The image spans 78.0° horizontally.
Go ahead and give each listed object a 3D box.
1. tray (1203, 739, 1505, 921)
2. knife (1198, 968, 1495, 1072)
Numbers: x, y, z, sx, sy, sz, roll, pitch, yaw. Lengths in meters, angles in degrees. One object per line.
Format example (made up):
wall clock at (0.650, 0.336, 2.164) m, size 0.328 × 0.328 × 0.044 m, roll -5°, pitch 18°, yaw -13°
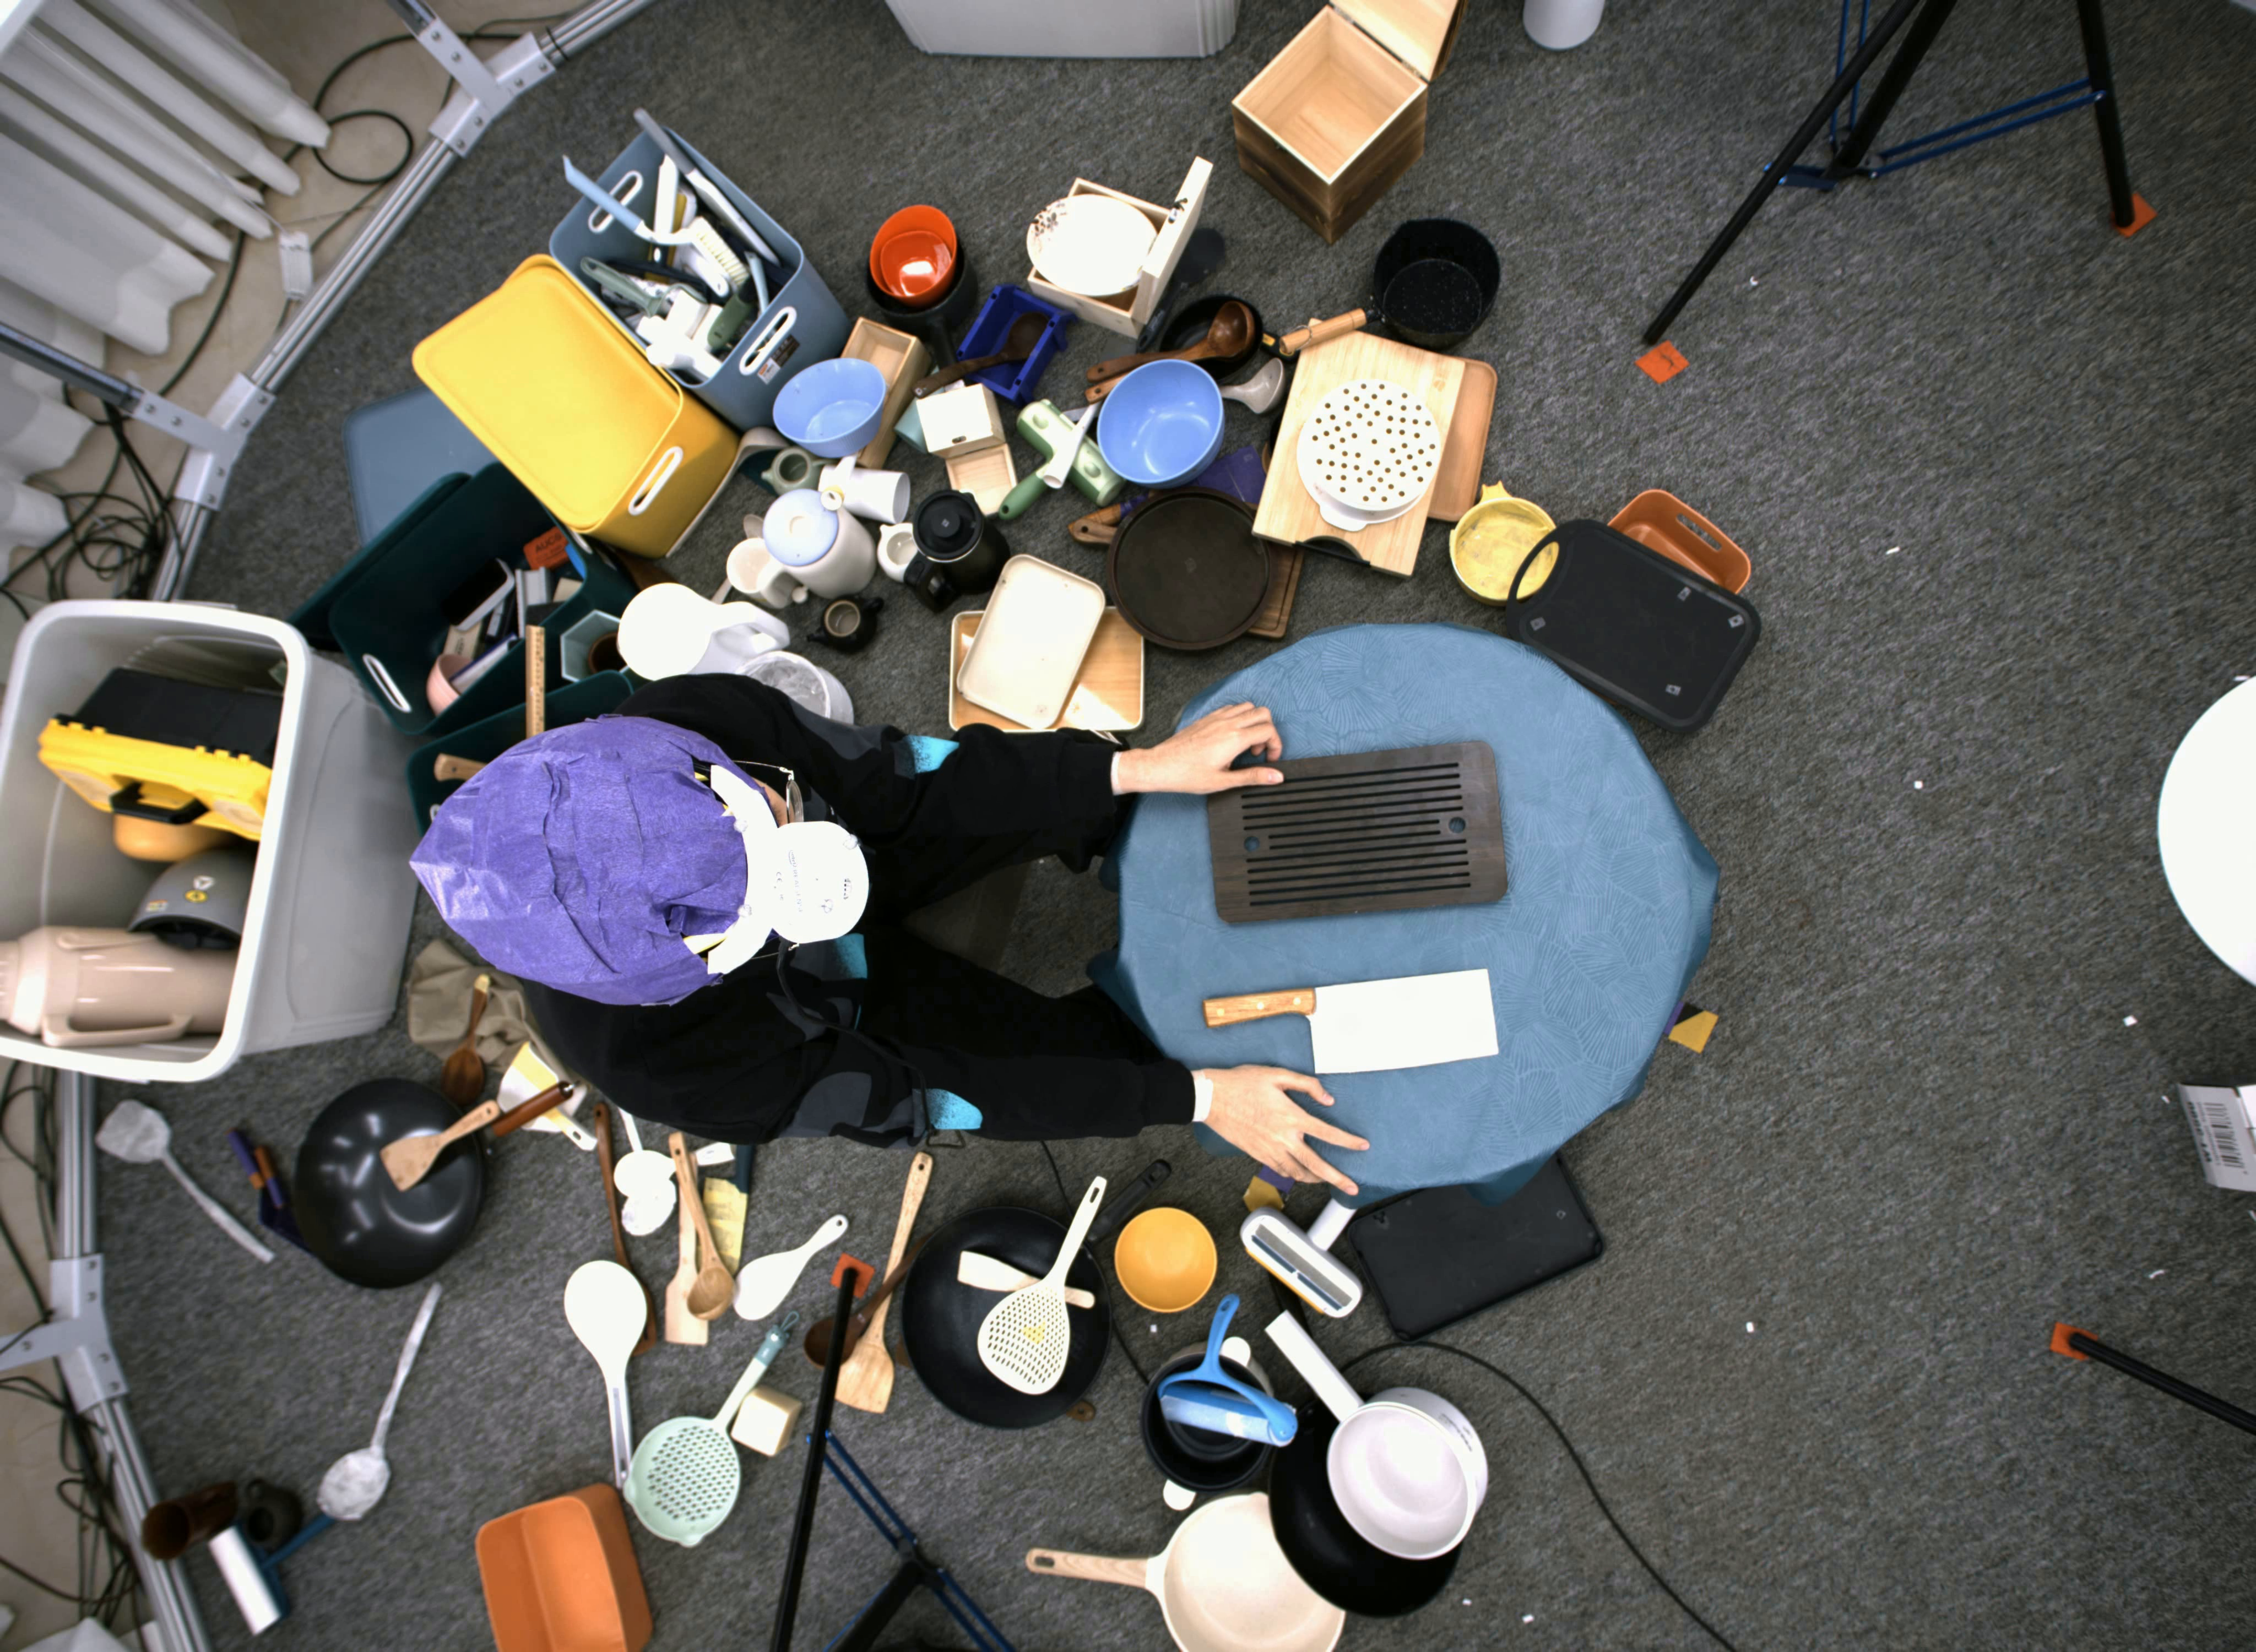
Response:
tray at (0.237, 0.004, 1.460) m, size 0.307 × 0.018 × 0.169 m, roll -5°, pitch 86°, yaw 10°
knife at (0.229, 0.208, 1.452) m, size 0.307 × 0.021 × 0.092 m, roll -7°, pitch 87°, yaw 8°
